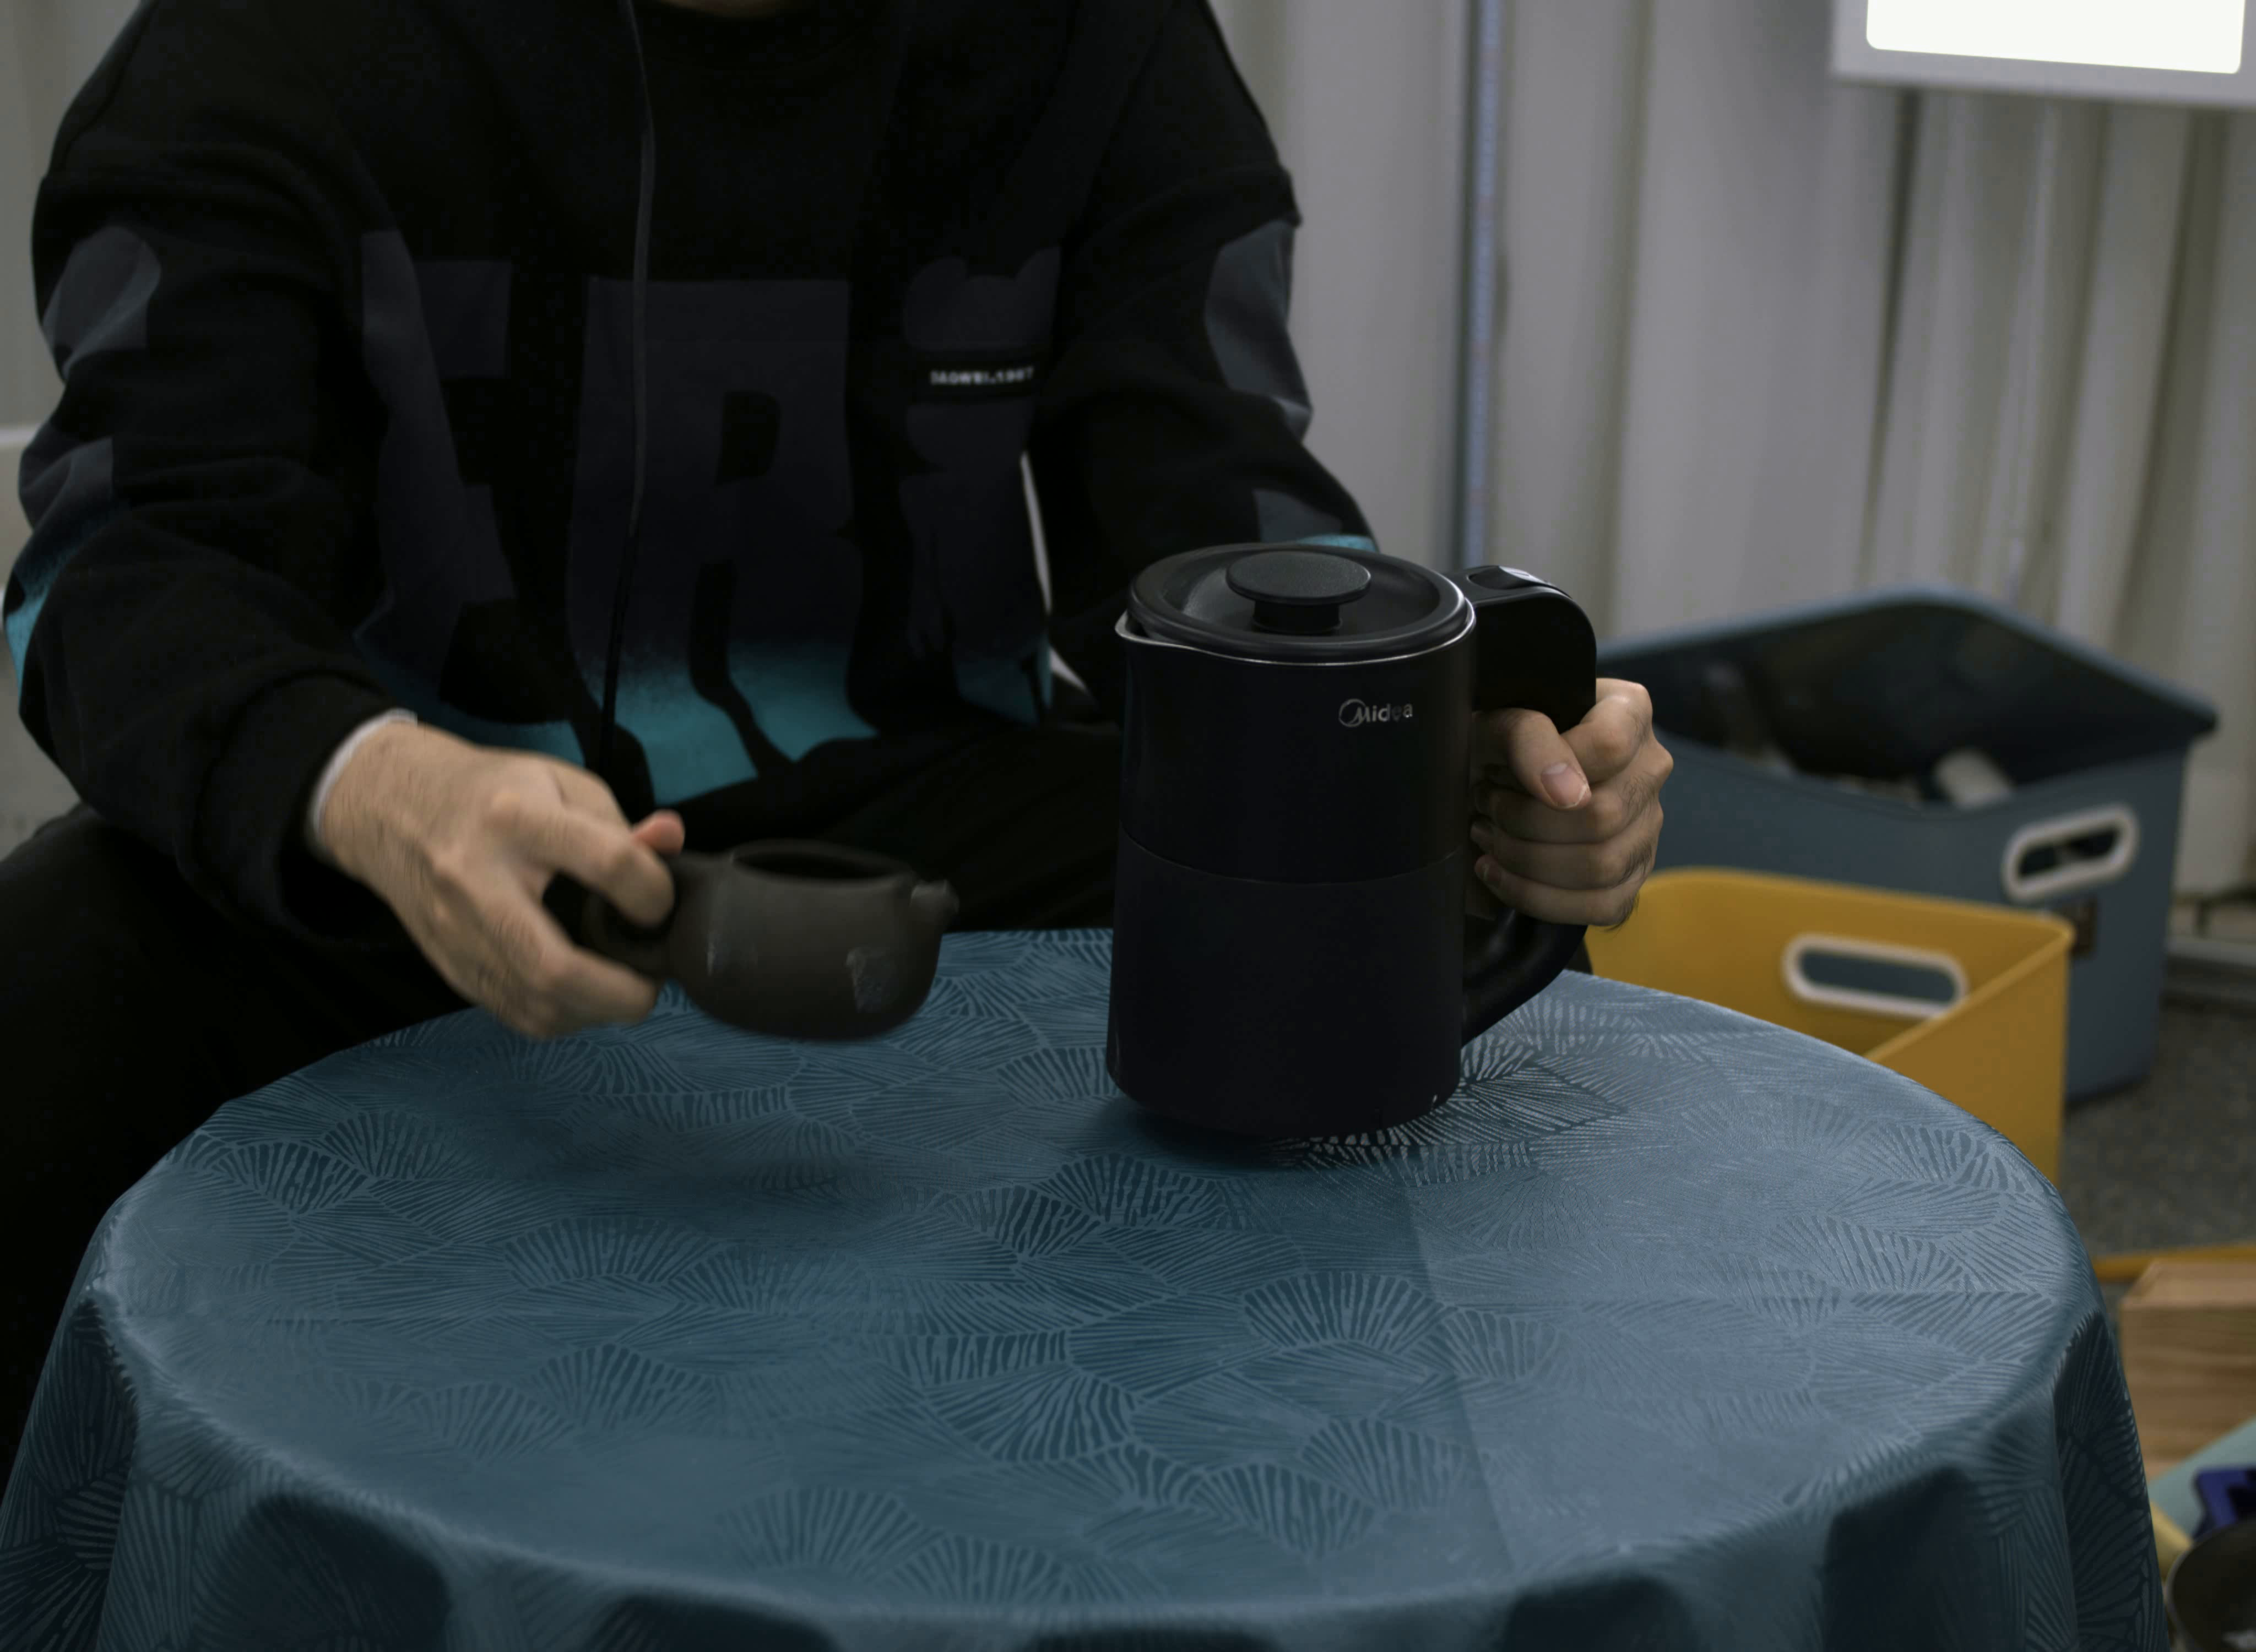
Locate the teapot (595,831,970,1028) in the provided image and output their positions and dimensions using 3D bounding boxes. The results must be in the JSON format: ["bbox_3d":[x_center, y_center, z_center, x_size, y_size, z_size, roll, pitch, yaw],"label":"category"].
[{"bbox_3d":[-0.107,0.029,1.611,0.113,0.053,0.083,11,11,3],"label":"teapot"}]

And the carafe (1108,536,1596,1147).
[{"bbox_3d":[0.071,-0.005,1.664,0.172,0.175,0.113,-12,23,-28],"label":"carafe"}]
